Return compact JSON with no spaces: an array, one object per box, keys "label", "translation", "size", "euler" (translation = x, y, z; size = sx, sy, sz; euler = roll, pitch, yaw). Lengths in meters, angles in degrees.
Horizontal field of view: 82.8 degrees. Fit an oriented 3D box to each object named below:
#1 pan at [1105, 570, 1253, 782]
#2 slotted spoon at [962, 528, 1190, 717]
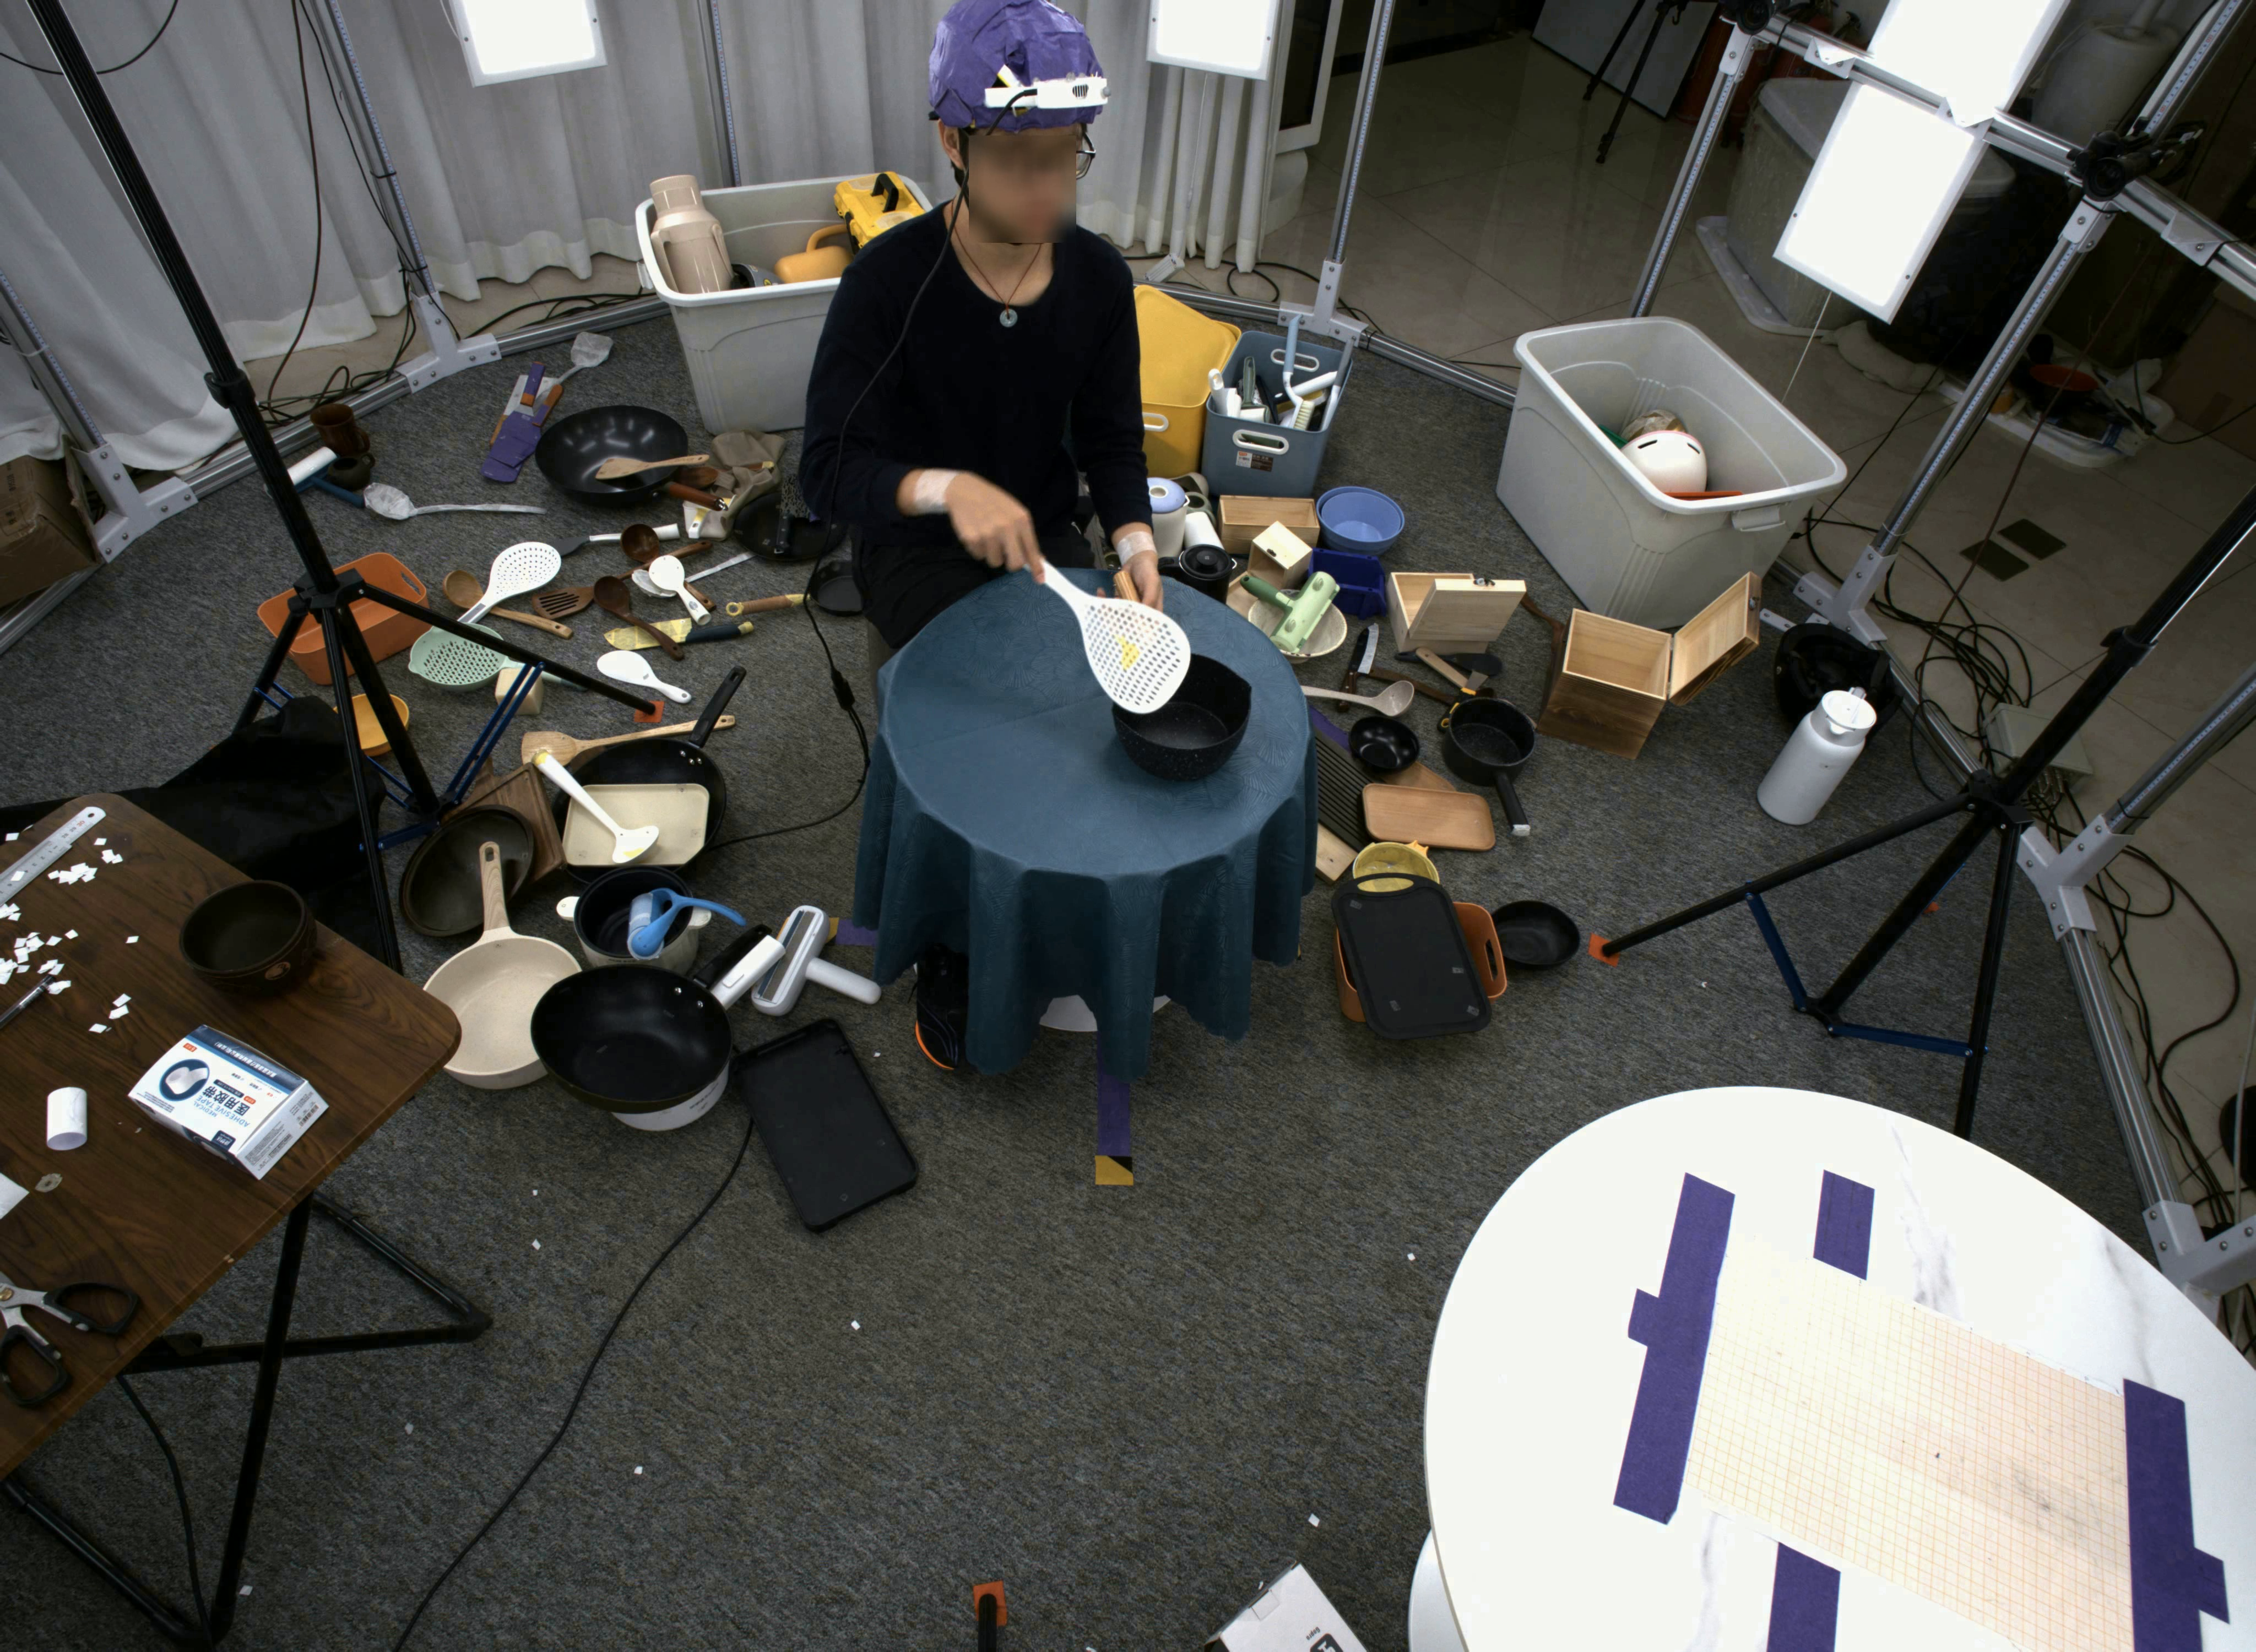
[{"label":"pan","translation":[0.043,-0.209,1.784],"size":[0.207,0.105,0.351],"euler":[-15,53,-15]},{"label":"slotted spoon","translation":[-0.066,-0.275,1.656],"size":[0.137,0.343,0.051],"euler":[-57,27,-9]}]
